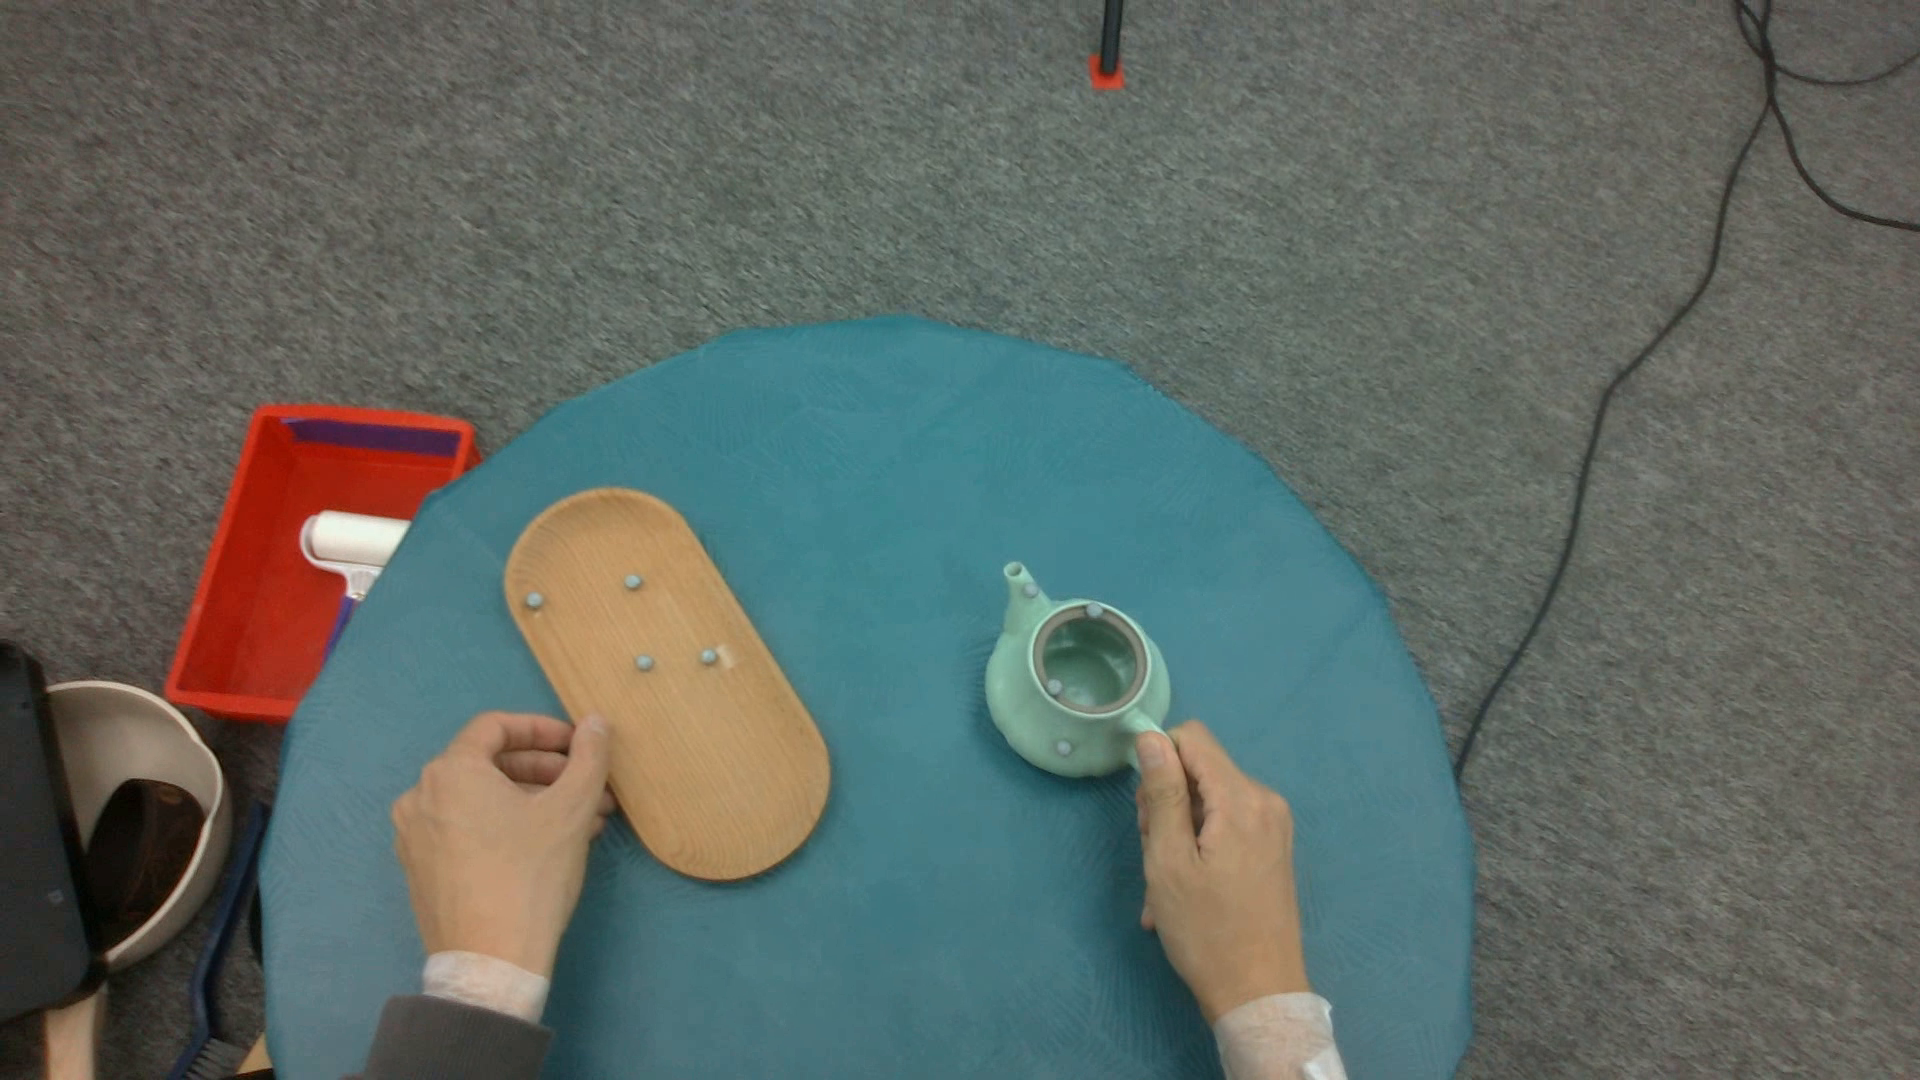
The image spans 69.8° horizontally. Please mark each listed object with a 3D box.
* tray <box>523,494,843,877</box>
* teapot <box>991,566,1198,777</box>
[{"bbox_3d":[-0.148,0.072,0.726,0.102,0.020,0.231,-31,71,-15],"label":"tray"},{"bbox_3d":[0.068,0.073,0.710,0.096,0.061,0.137,-36,70,-22],"label":"teapot"}]
